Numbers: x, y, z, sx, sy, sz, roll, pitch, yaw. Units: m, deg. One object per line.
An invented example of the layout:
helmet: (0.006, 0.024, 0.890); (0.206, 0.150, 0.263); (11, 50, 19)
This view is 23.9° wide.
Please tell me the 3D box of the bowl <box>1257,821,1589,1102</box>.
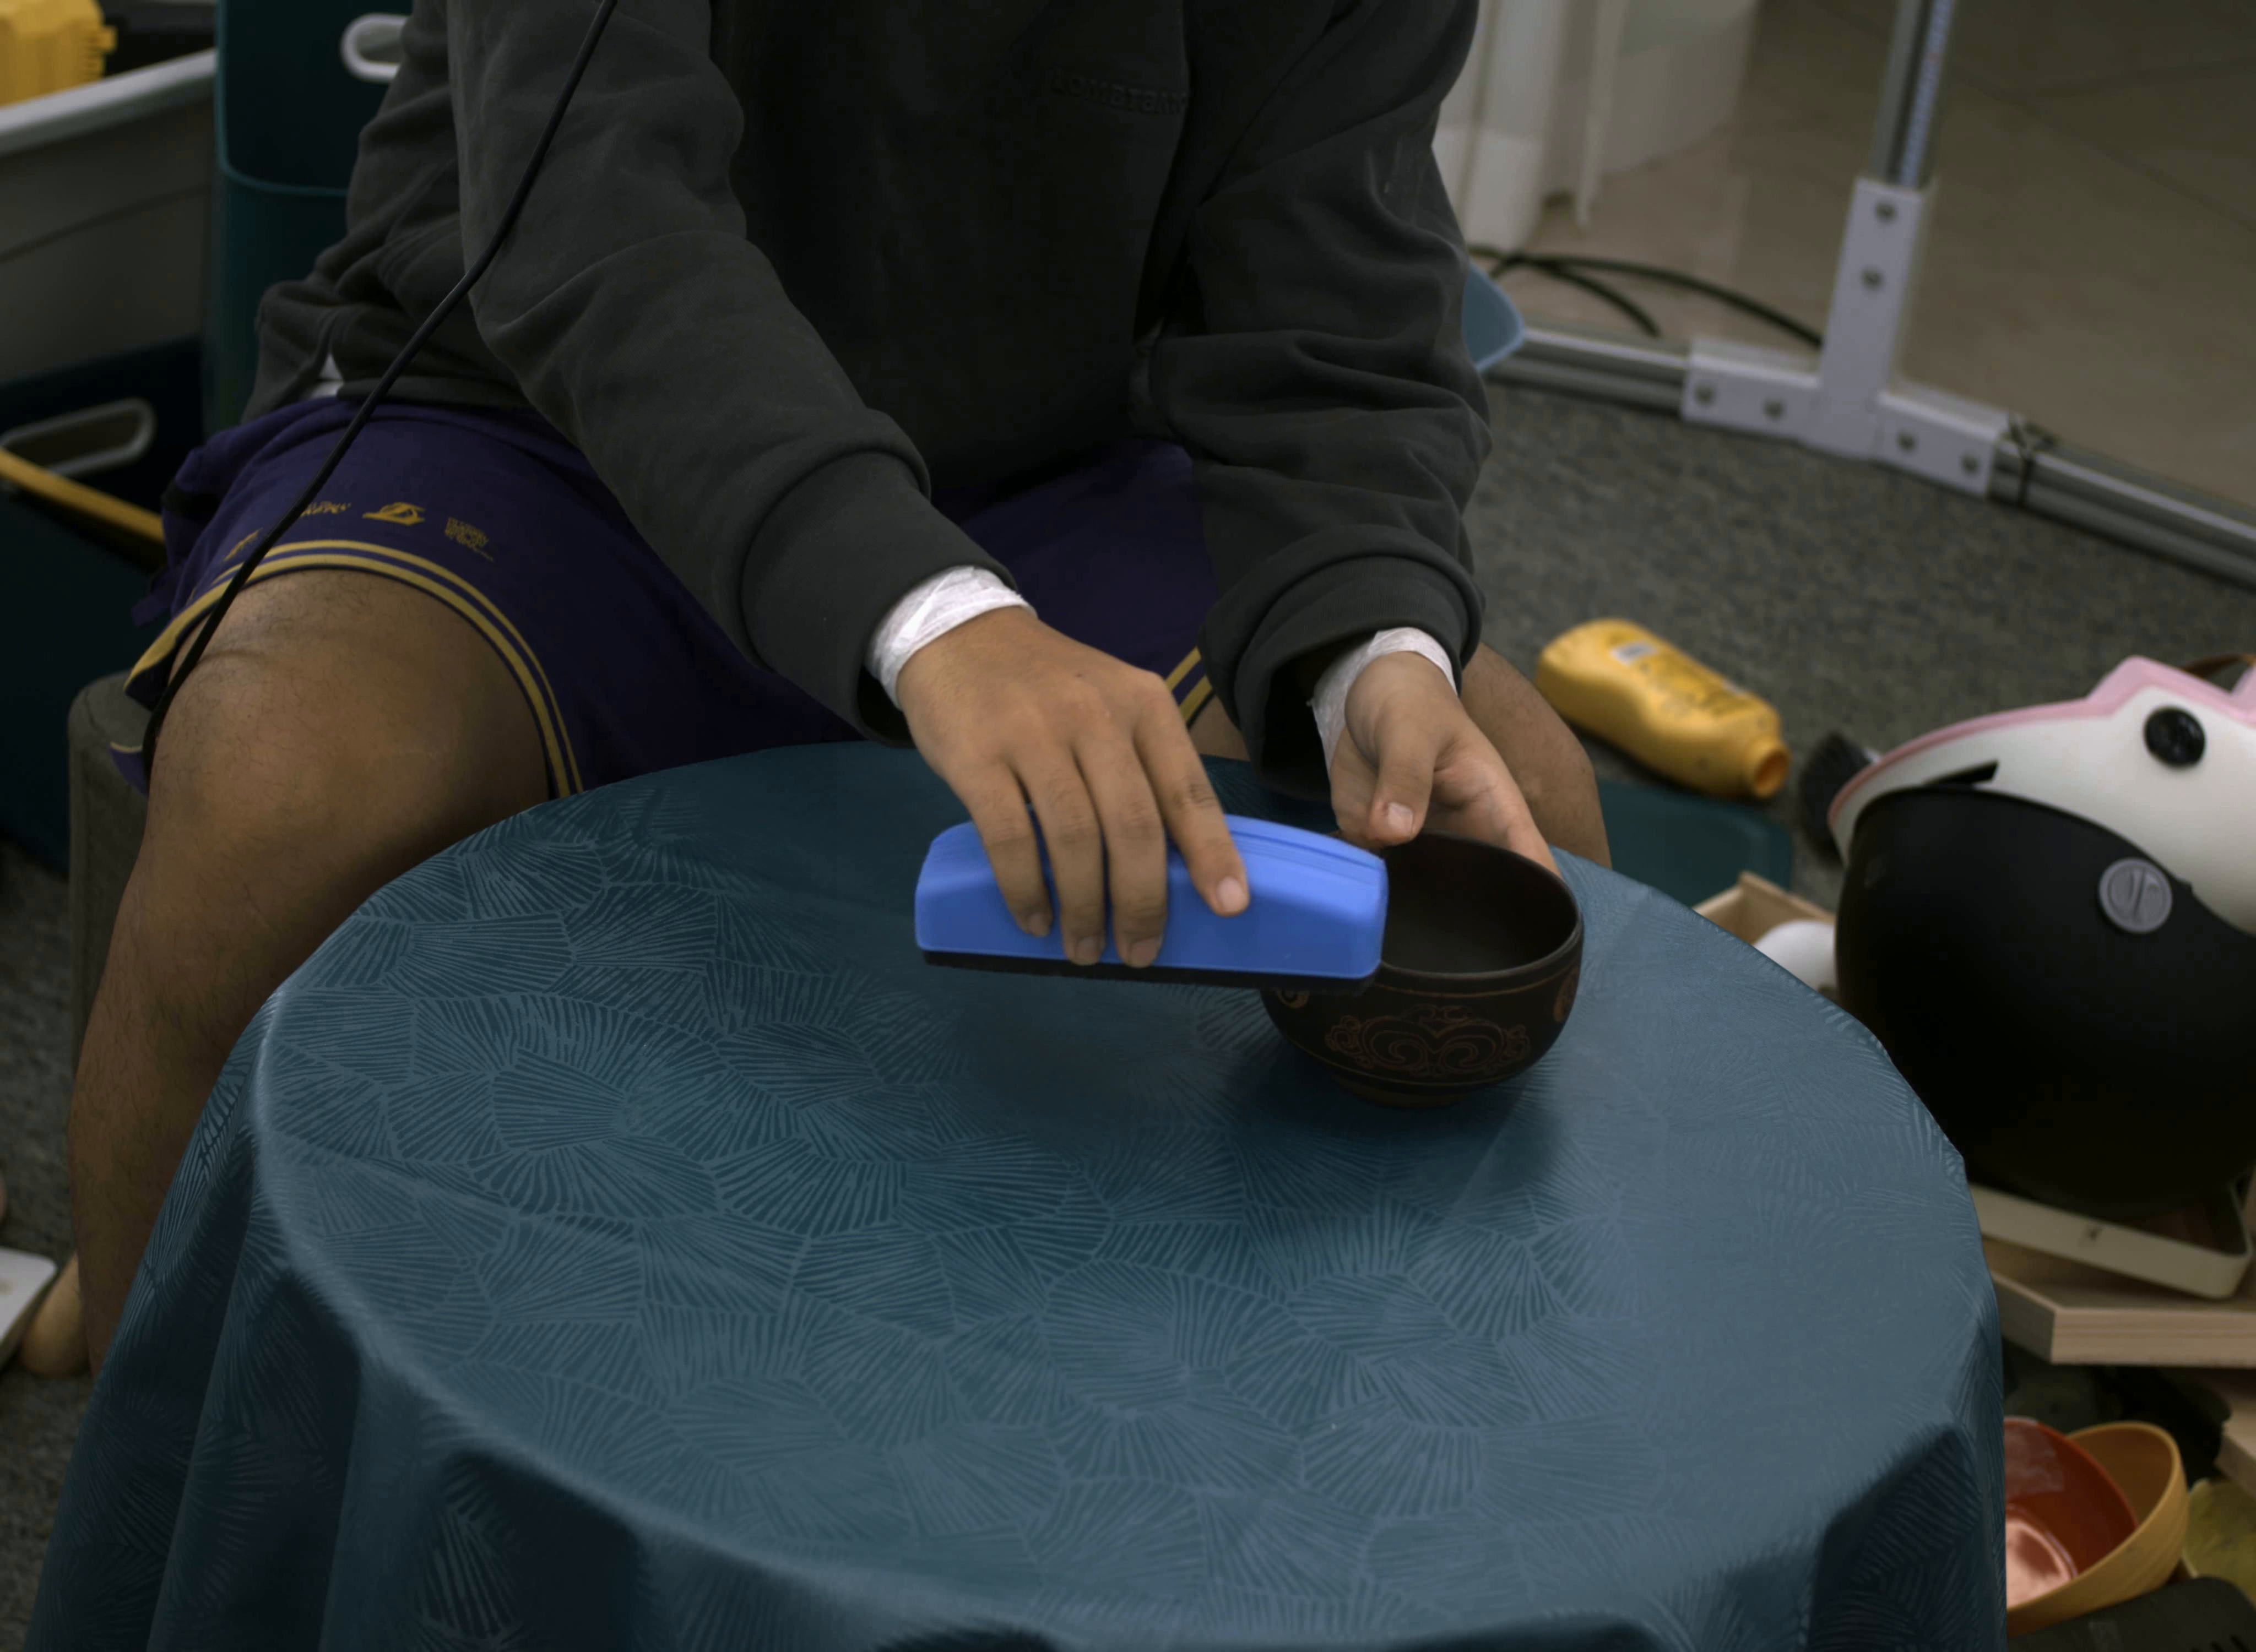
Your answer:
bowl: (0.101, 0.054, 1.878); (0.117, 0.069, 0.119); (4, 25, -2)

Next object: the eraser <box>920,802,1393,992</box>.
eraser: (0.010, 0.022, 1.815); (0.162, 0.047, 0.054); (3, 29, 8)
